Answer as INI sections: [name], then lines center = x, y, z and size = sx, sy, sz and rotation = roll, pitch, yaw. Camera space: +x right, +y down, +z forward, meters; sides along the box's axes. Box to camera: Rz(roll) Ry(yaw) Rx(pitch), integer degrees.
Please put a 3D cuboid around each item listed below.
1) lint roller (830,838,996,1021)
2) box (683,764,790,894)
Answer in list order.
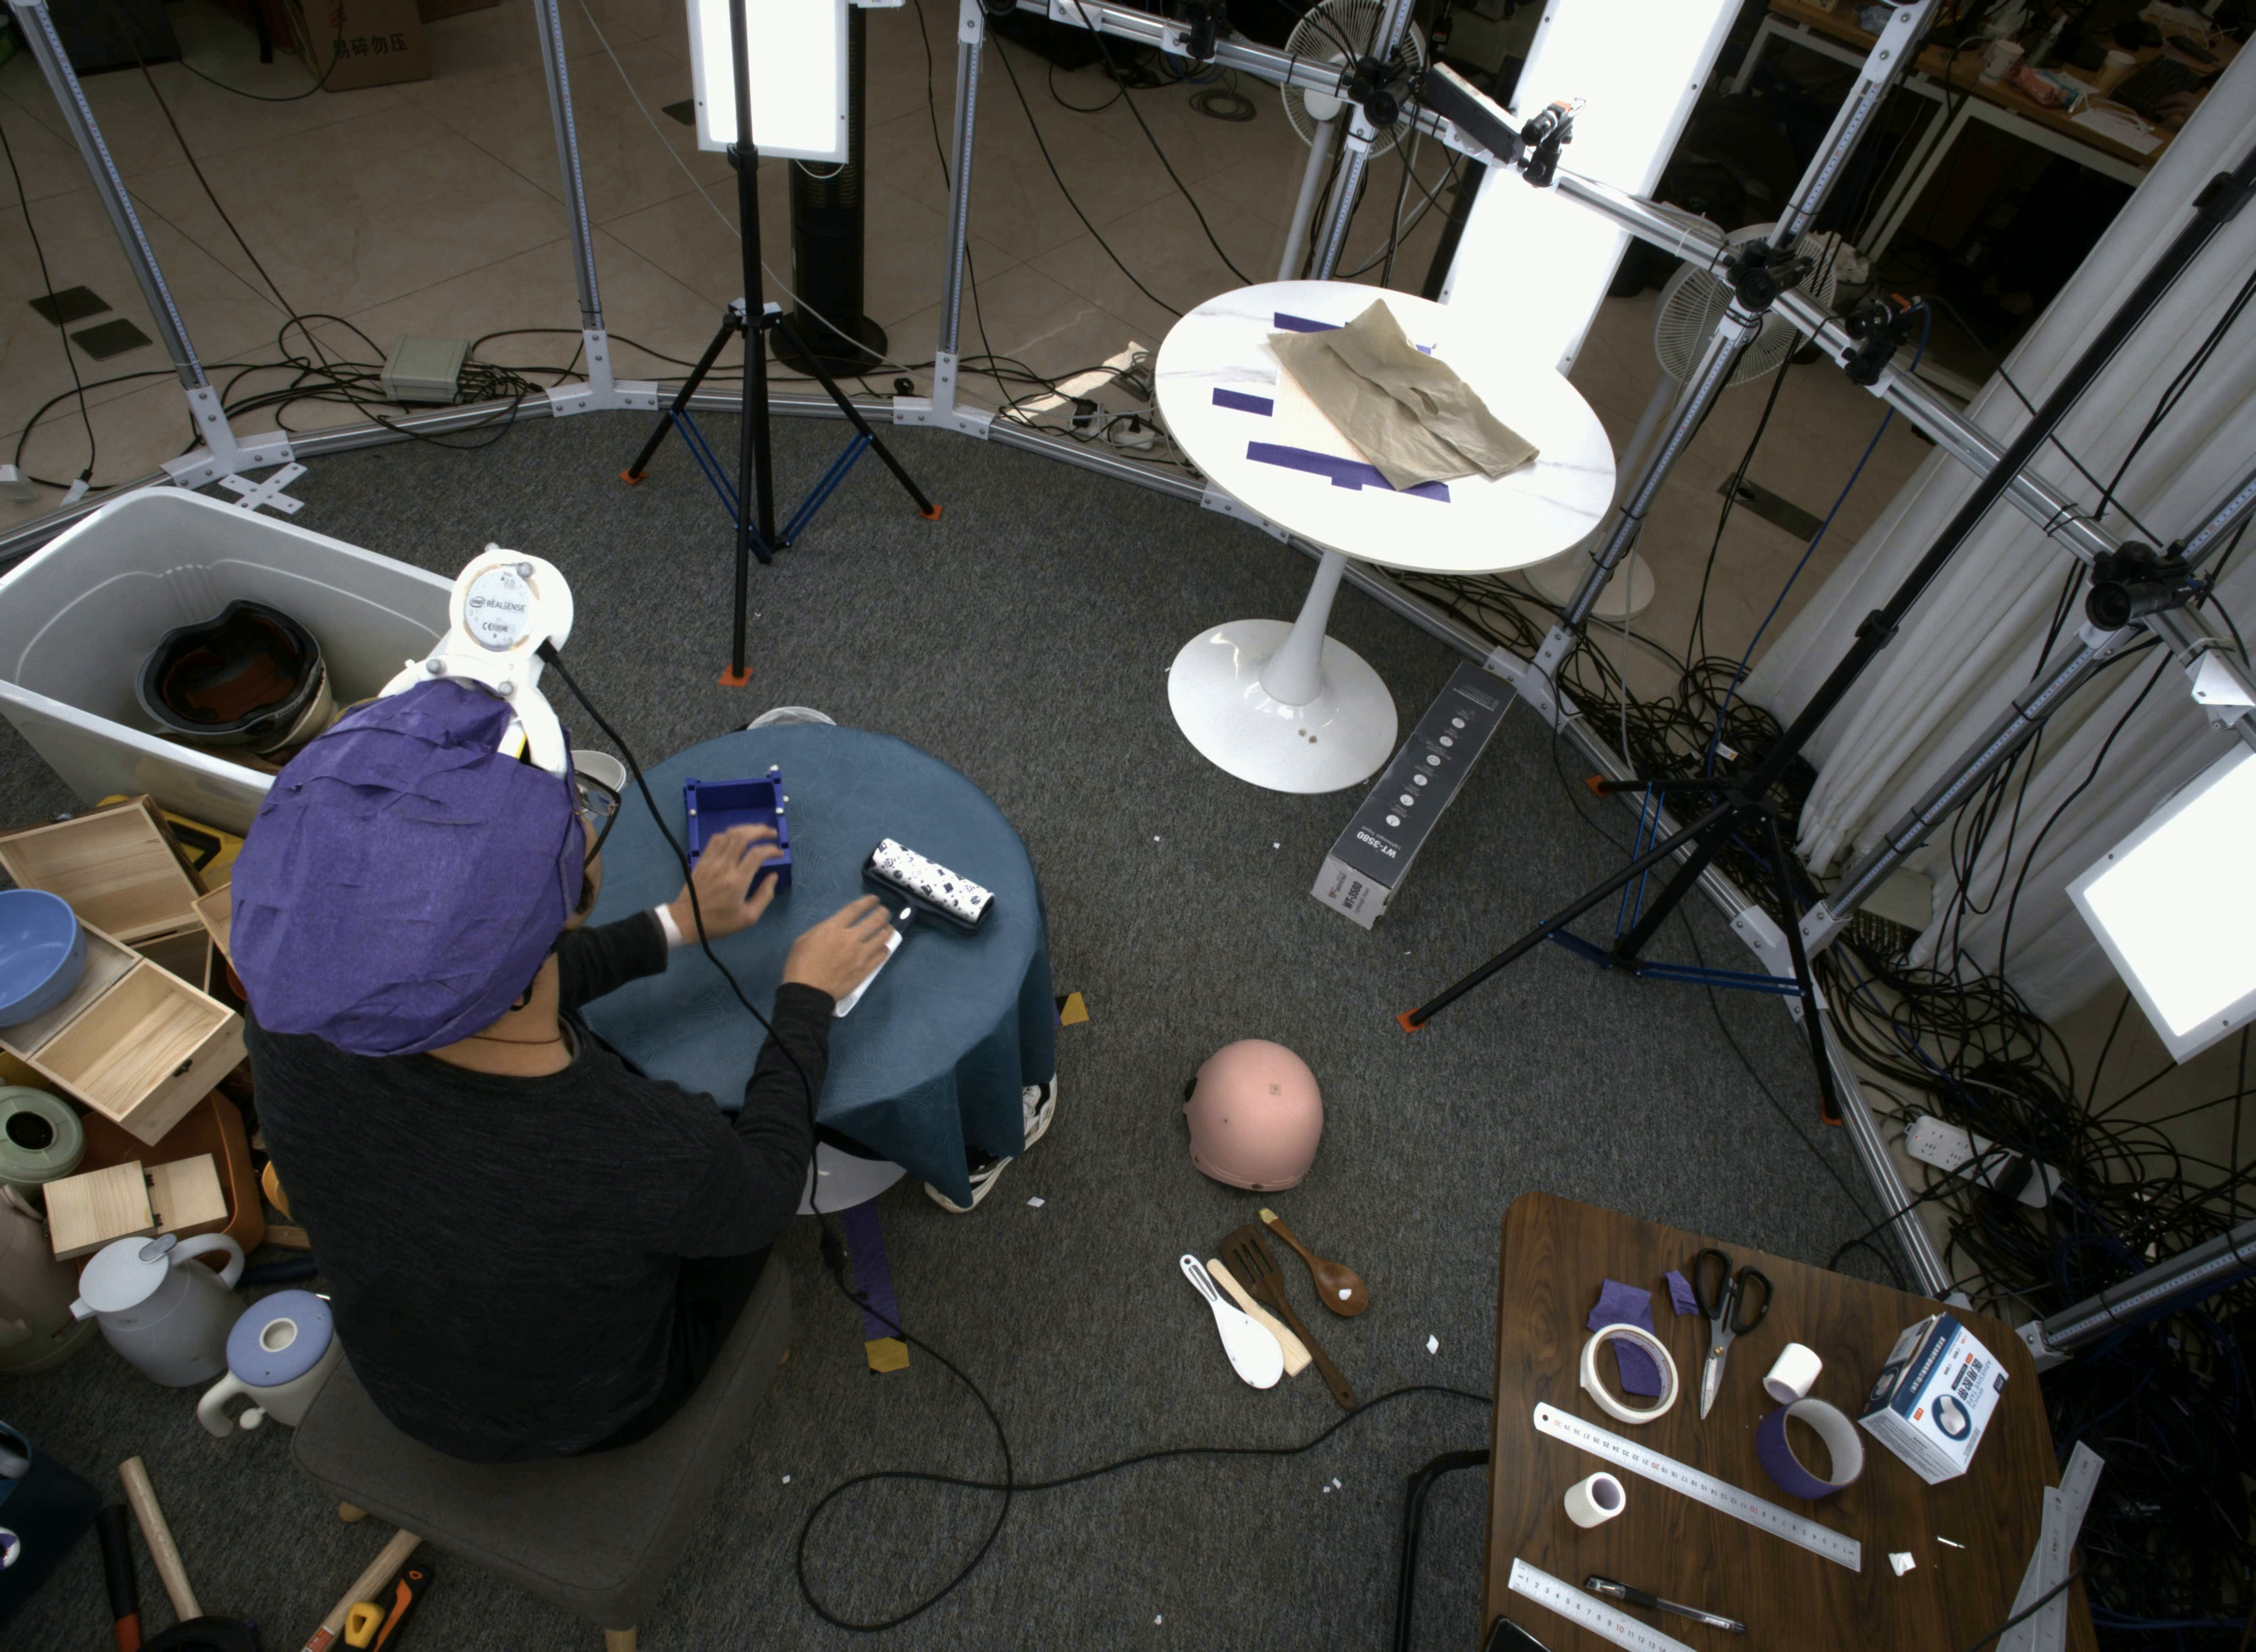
[lint roller]
center = -0.295, 0.138, 1.622
size = 0.174, 0.051, 0.245
rotation = 27, 53, 6
[box]
center = -0.501, -0.005, 1.649
size = 0.125, 0.083, 0.175
rotation = -5, 58, -17
